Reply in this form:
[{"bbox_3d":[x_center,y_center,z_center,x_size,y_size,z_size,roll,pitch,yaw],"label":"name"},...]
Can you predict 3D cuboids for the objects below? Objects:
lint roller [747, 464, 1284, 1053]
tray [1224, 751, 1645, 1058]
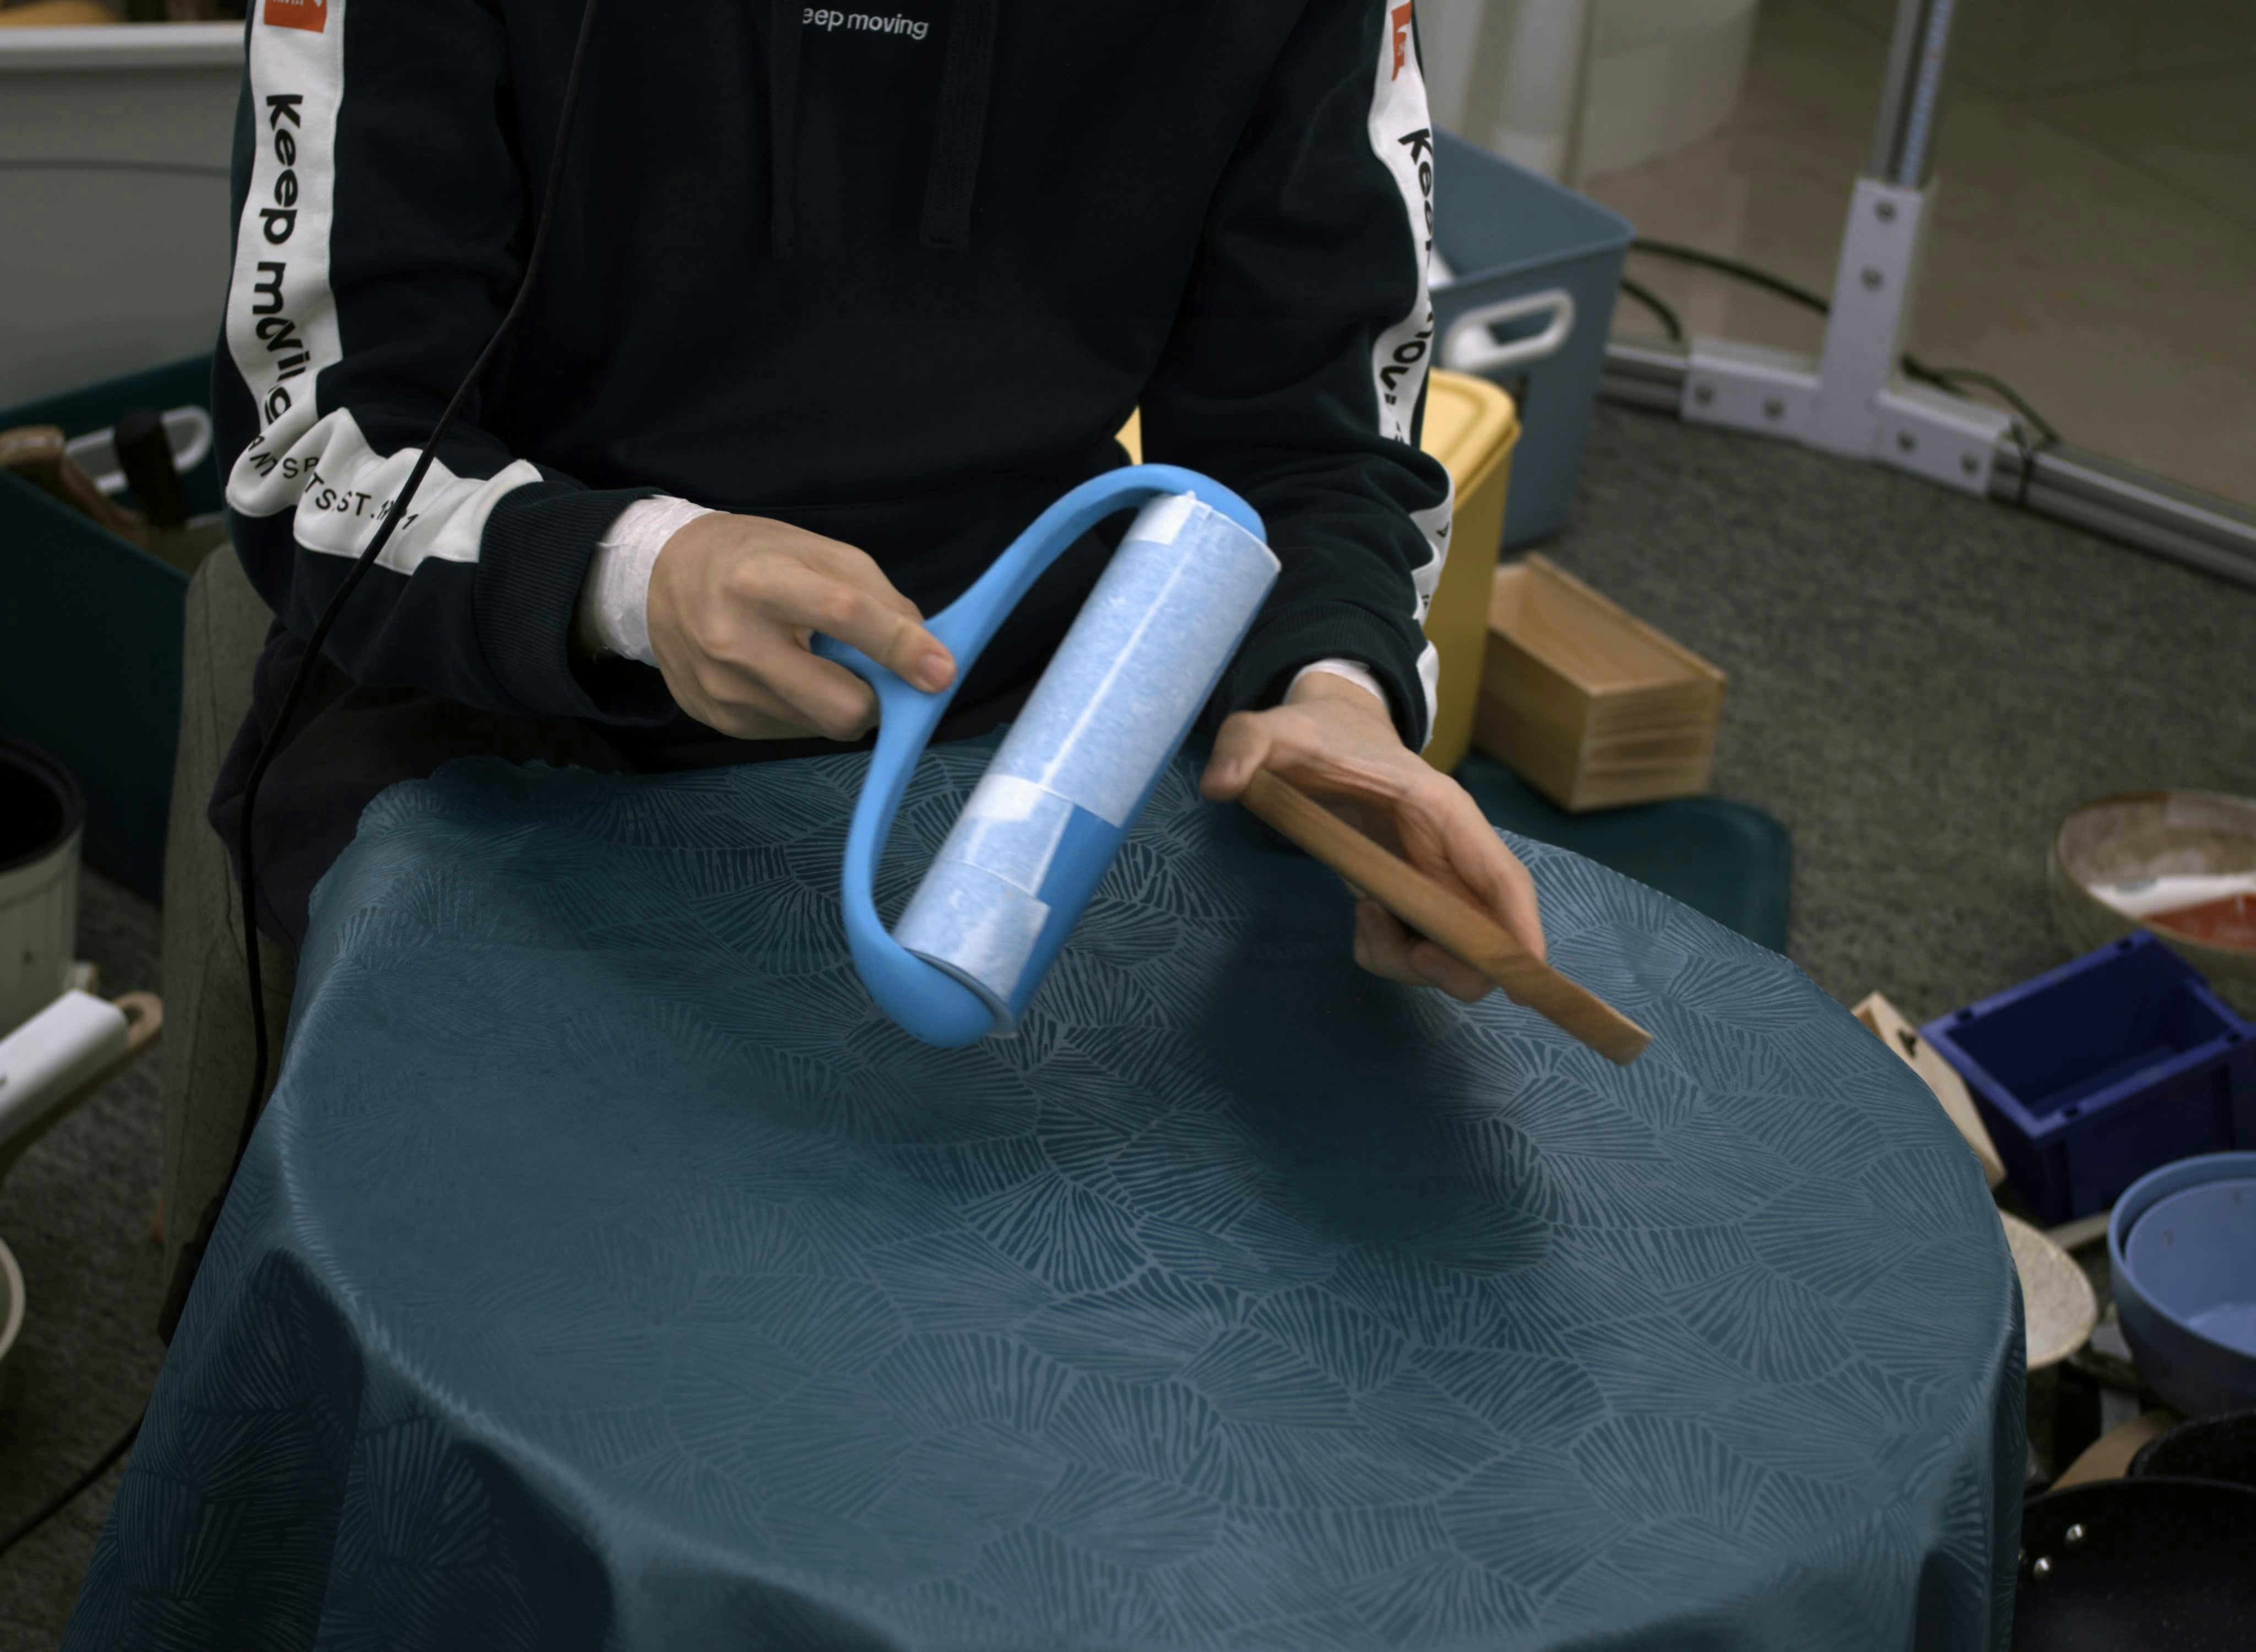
[{"bbox_3d":[-0.065,-0.039,1.855,0.181,0.067,0.230,17,68,24],"label":"lint roller"},{"bbox_3d":[0.102,0.027,1.837,0.101,0.020,0.233,38,-3,-28],"label":"tray"}]
